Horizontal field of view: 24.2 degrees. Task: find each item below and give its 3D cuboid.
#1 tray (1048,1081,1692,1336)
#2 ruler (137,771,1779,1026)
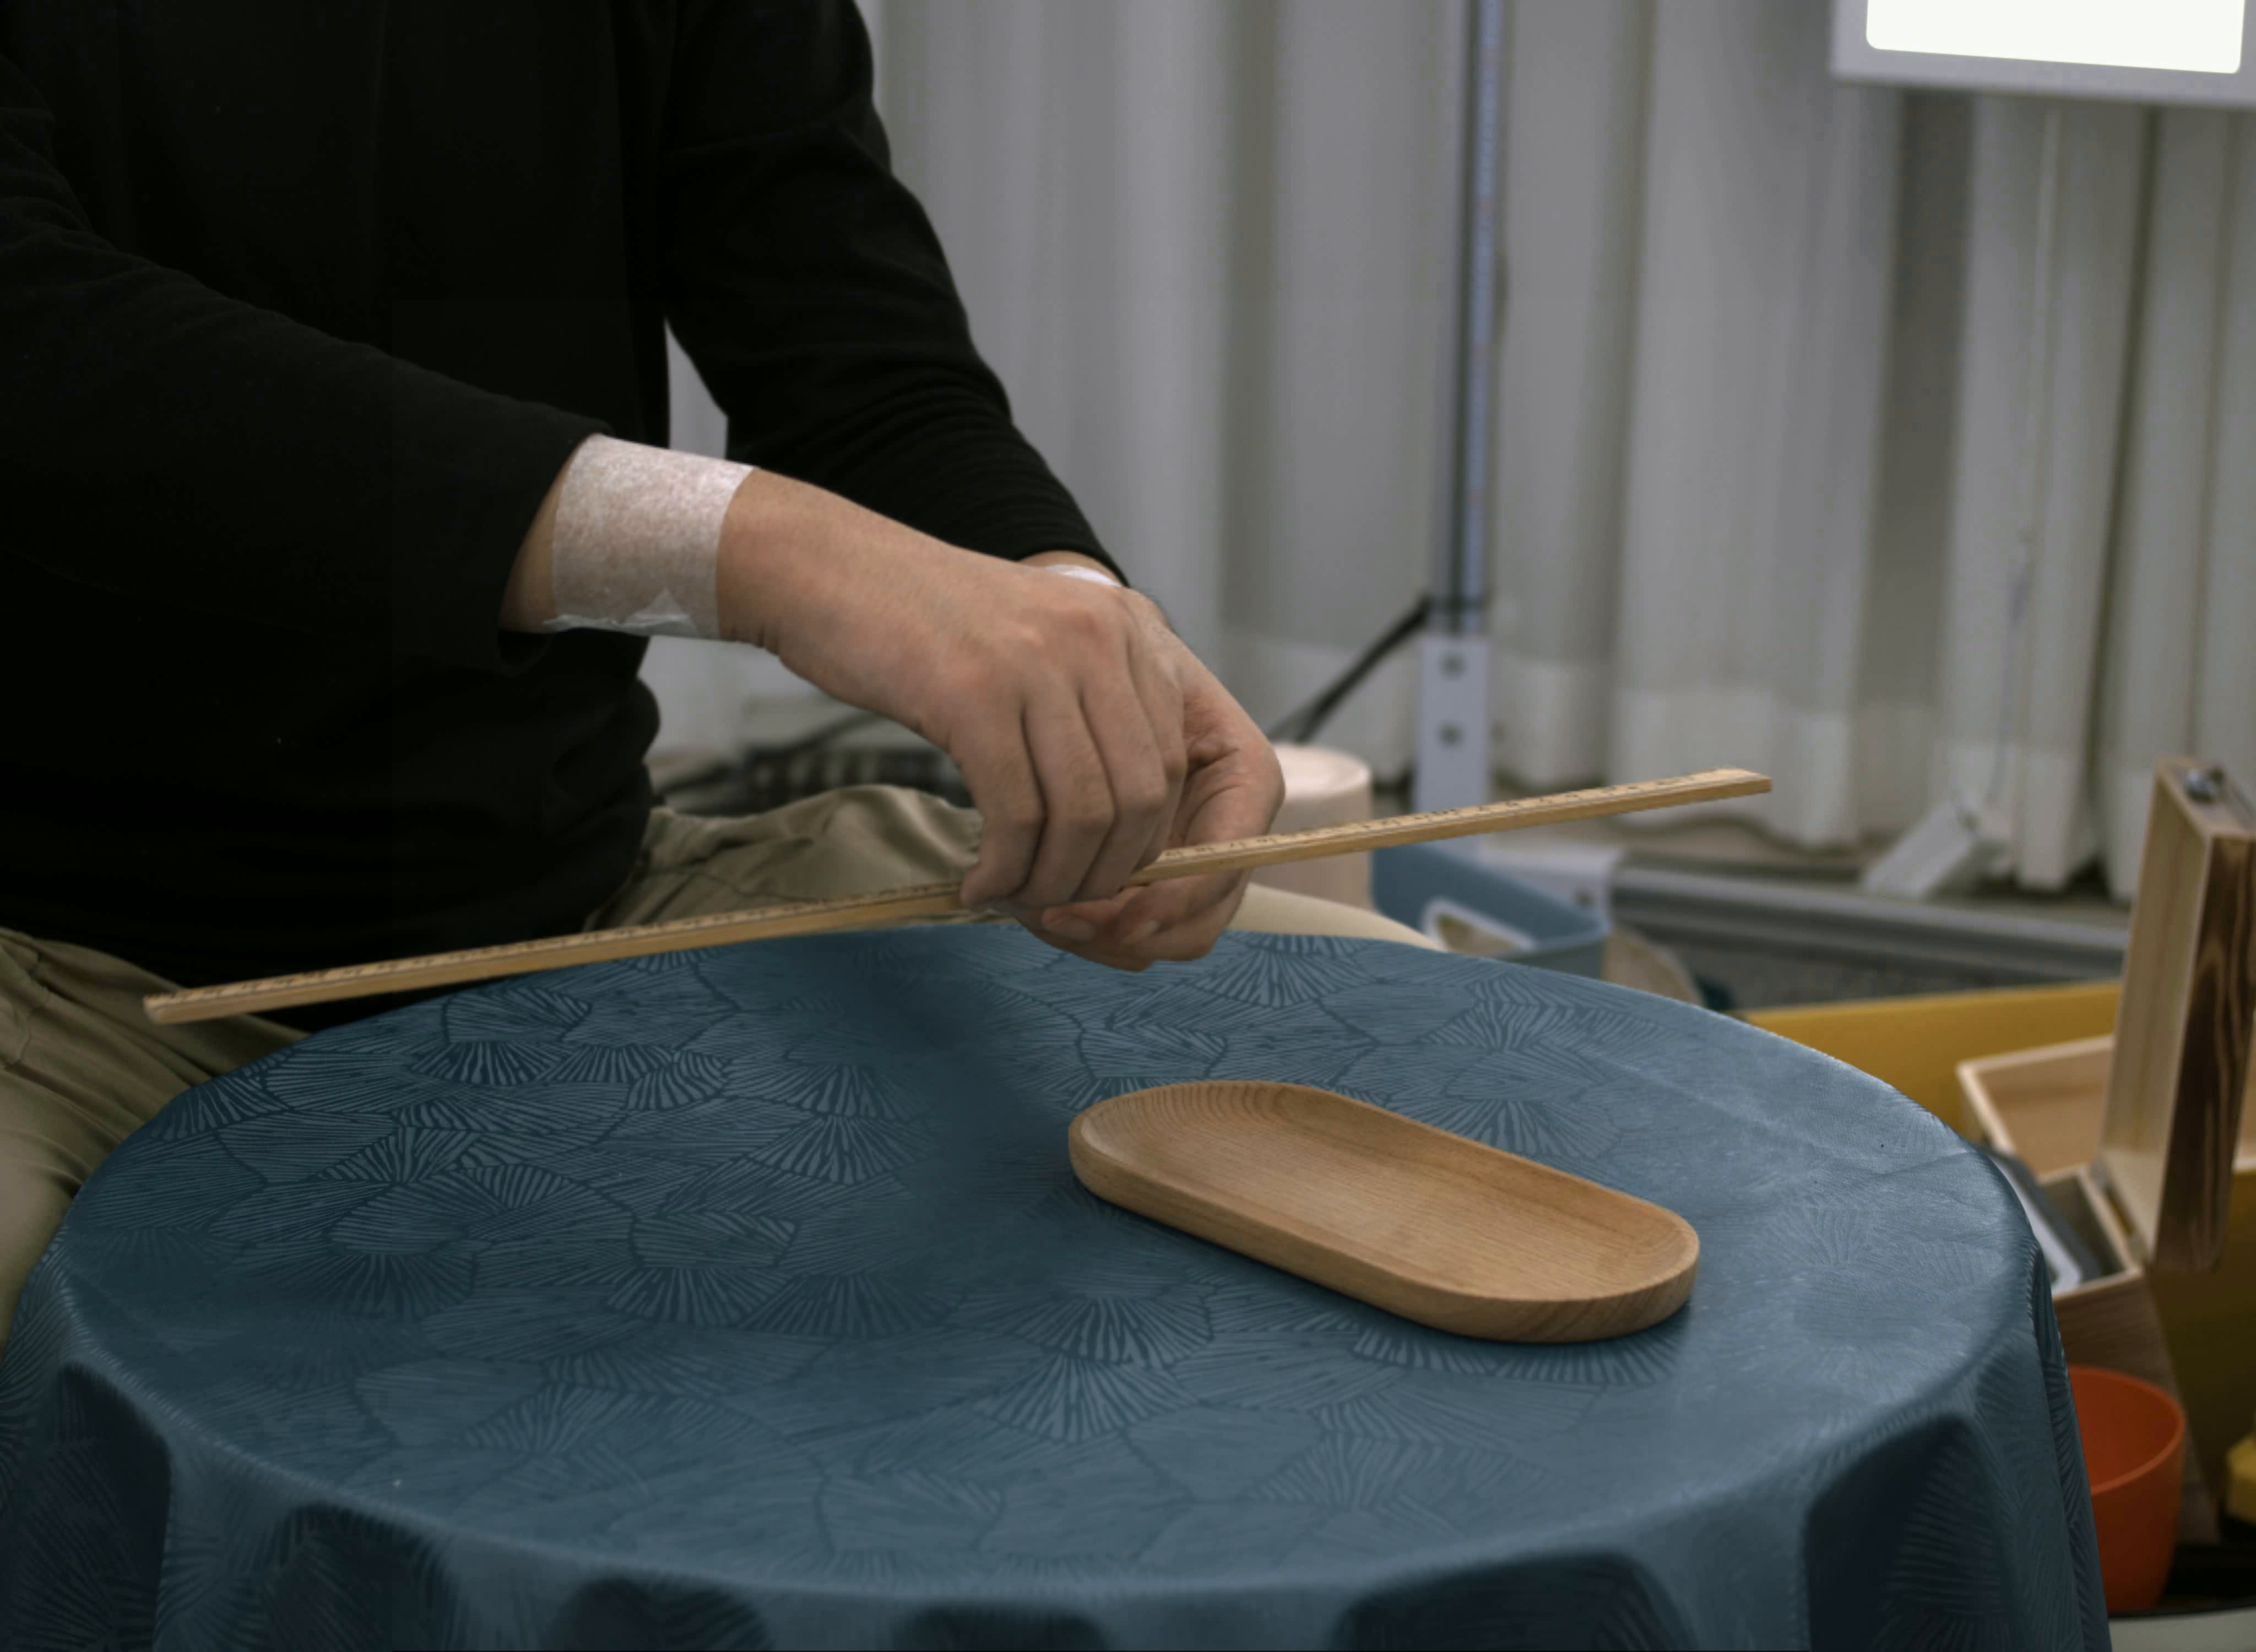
[{"bbox_3d":[0.070,0.114,1.587,0.102,0.020,0.228,-12,18,-42],"label":"tray"},{"bbox_3d":[-0.041,0.019,1.551,0.501,0.006,0.026,-8,7,-17],"label":"ruler"}]
